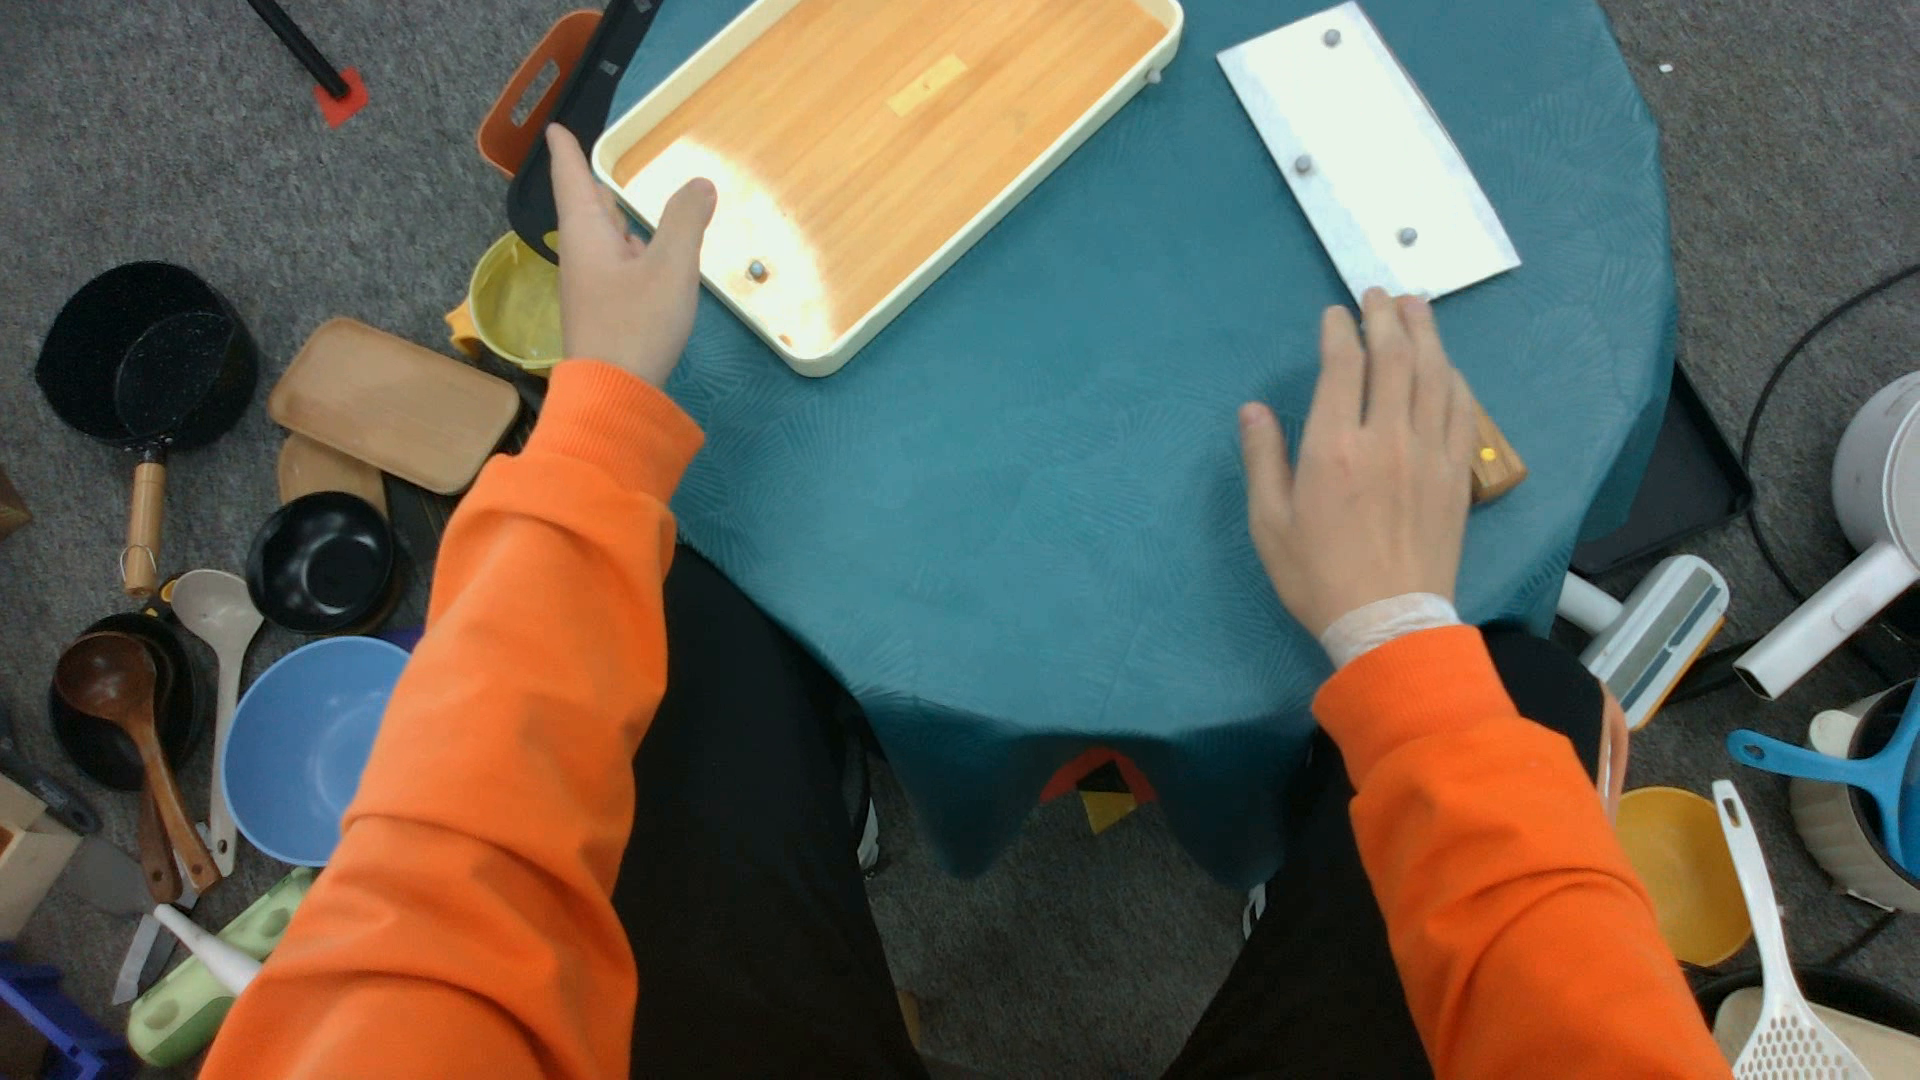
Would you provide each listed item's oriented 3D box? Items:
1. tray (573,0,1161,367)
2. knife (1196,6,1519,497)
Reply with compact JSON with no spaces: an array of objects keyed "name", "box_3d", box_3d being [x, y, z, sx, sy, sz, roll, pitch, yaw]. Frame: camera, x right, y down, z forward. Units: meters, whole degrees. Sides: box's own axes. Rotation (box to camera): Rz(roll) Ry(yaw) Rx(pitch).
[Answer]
[{"name":"tray","box_3d":[-0.051,-0.255,0.780,0.191,0.027,0.301,43,80,13]},{"name":"knife","box_3d":[0.233,-0.168,0.747,0.093,0.021,0.306,-23,72,-6]}]
